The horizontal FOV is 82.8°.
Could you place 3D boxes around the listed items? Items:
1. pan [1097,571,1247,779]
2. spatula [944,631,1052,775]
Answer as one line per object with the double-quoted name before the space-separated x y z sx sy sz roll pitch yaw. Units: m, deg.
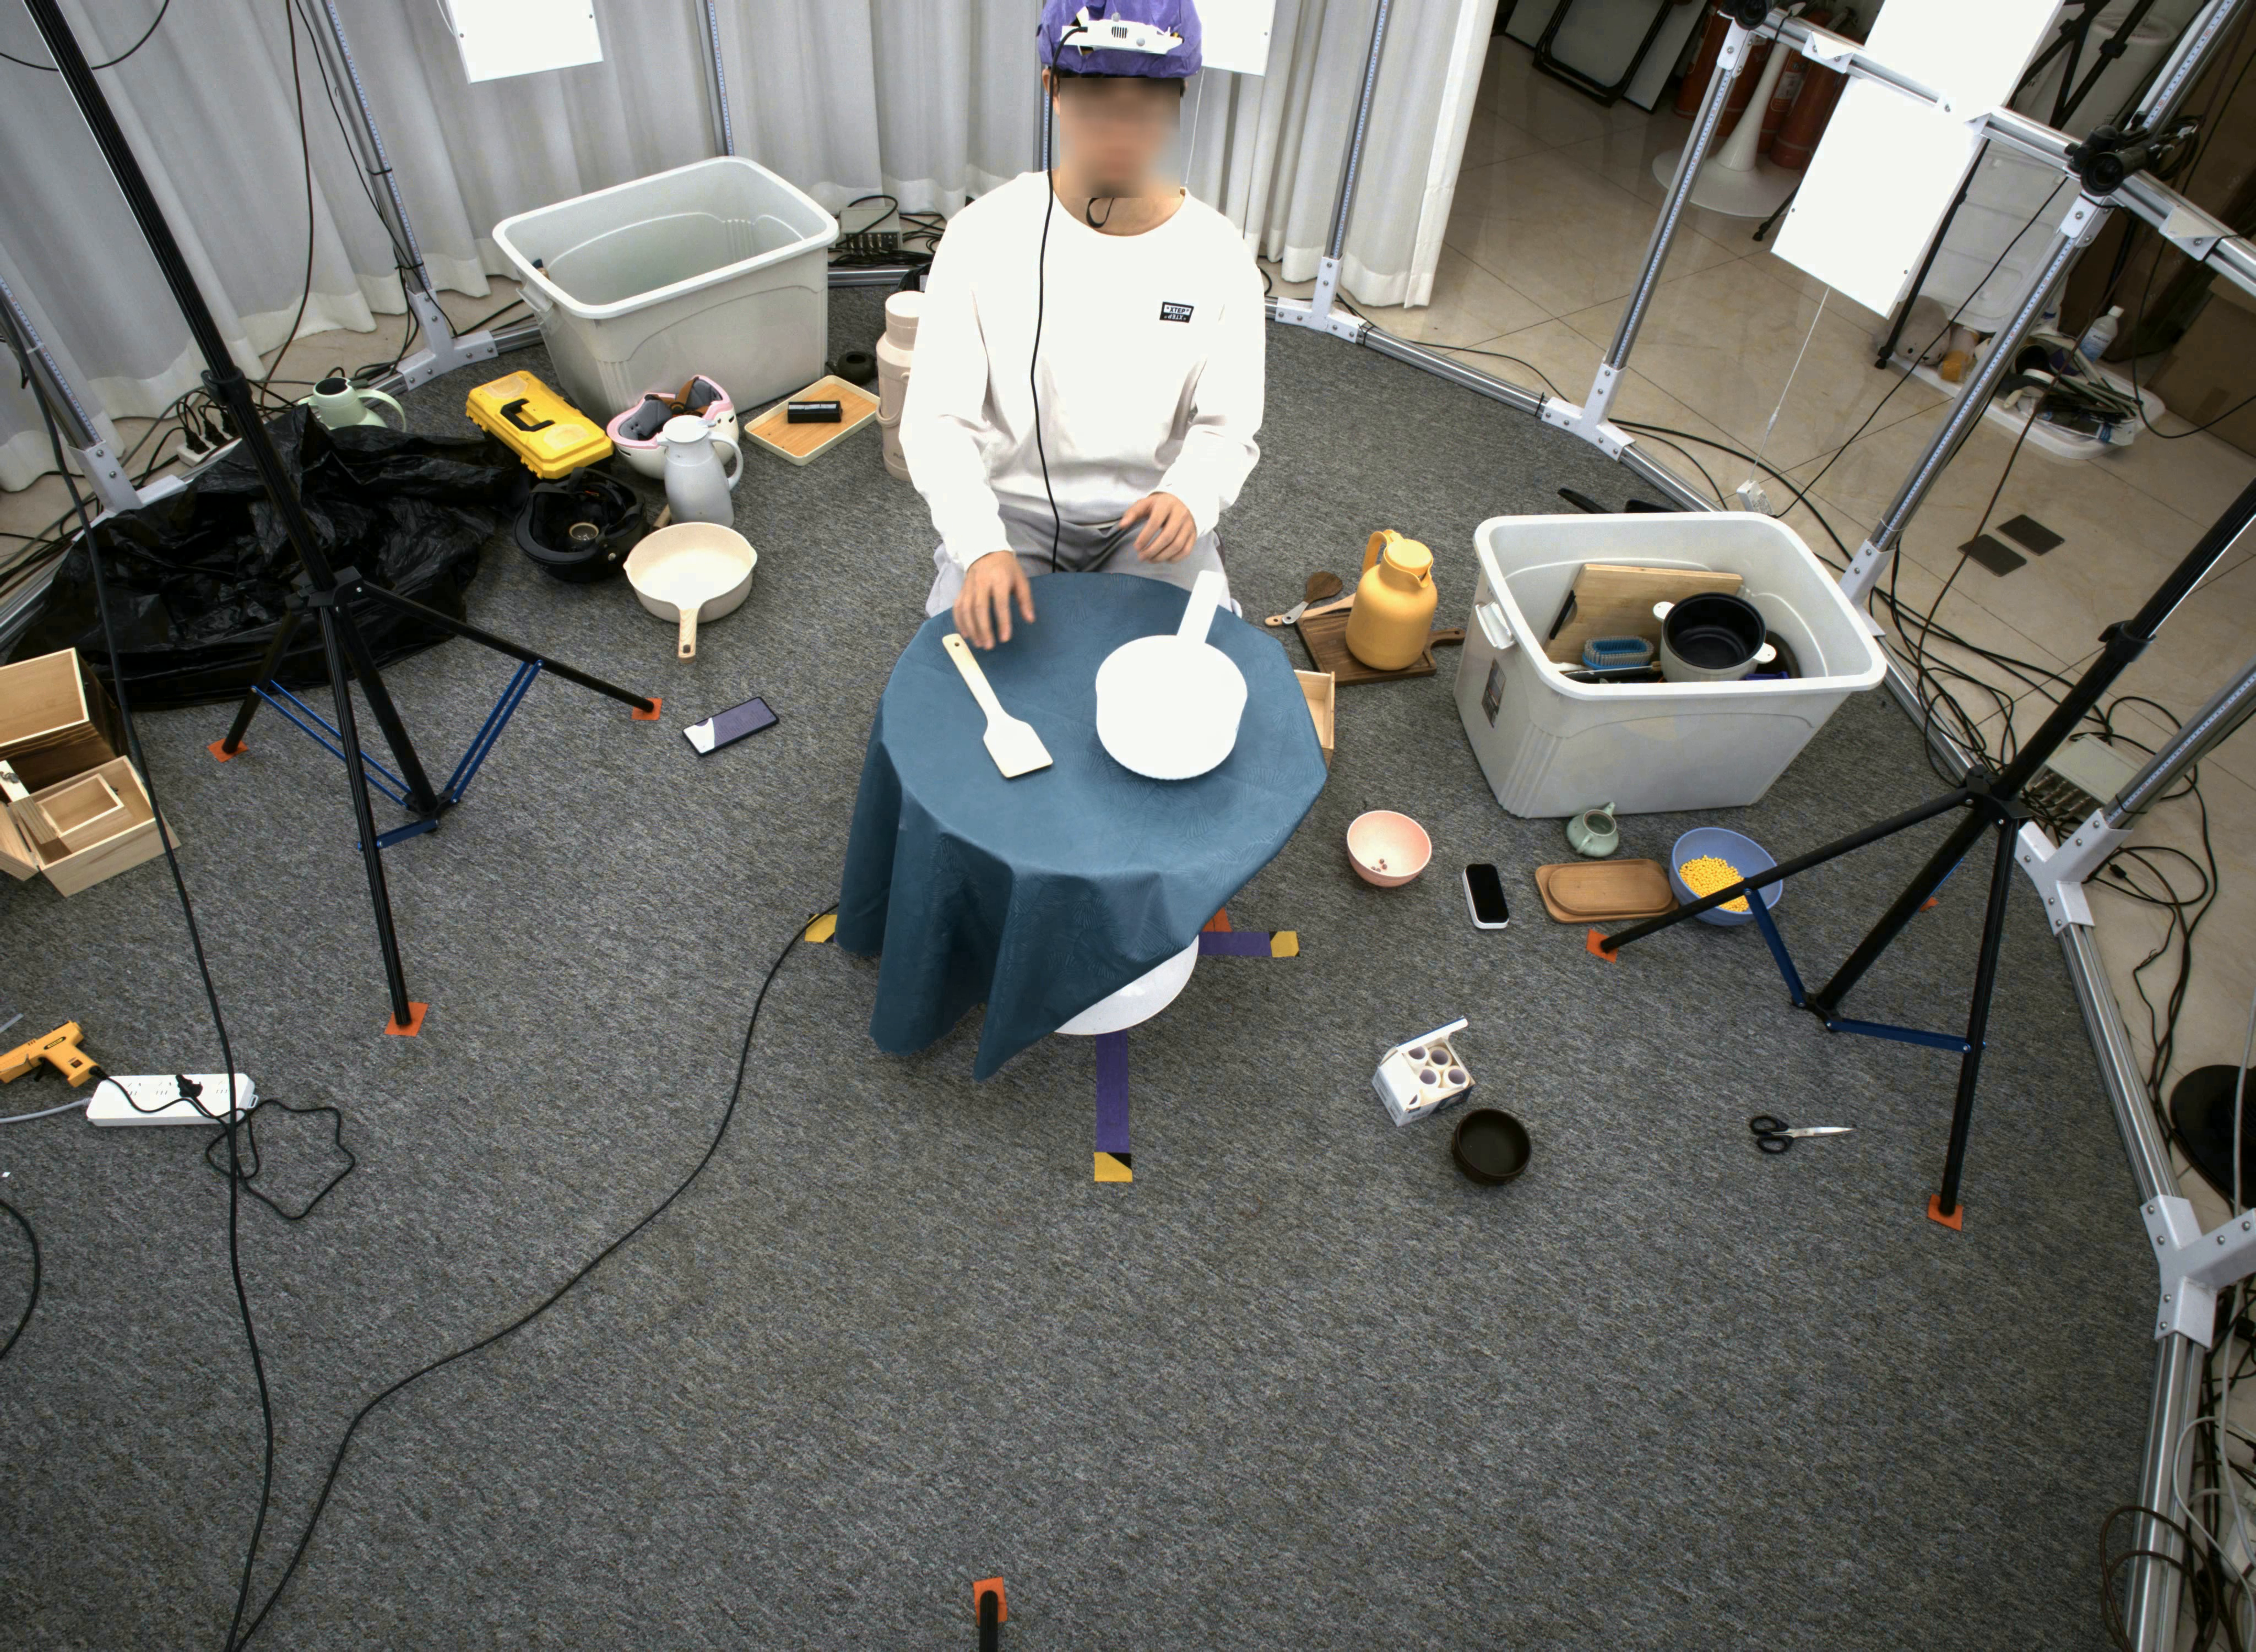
"pan" 0.076 -0.212 1.790 0.202 0.099 0.362 13 48 8
"spatula" -0.196 -0.178 1.799 0.072 0.010 0.299 -19 53 -18
